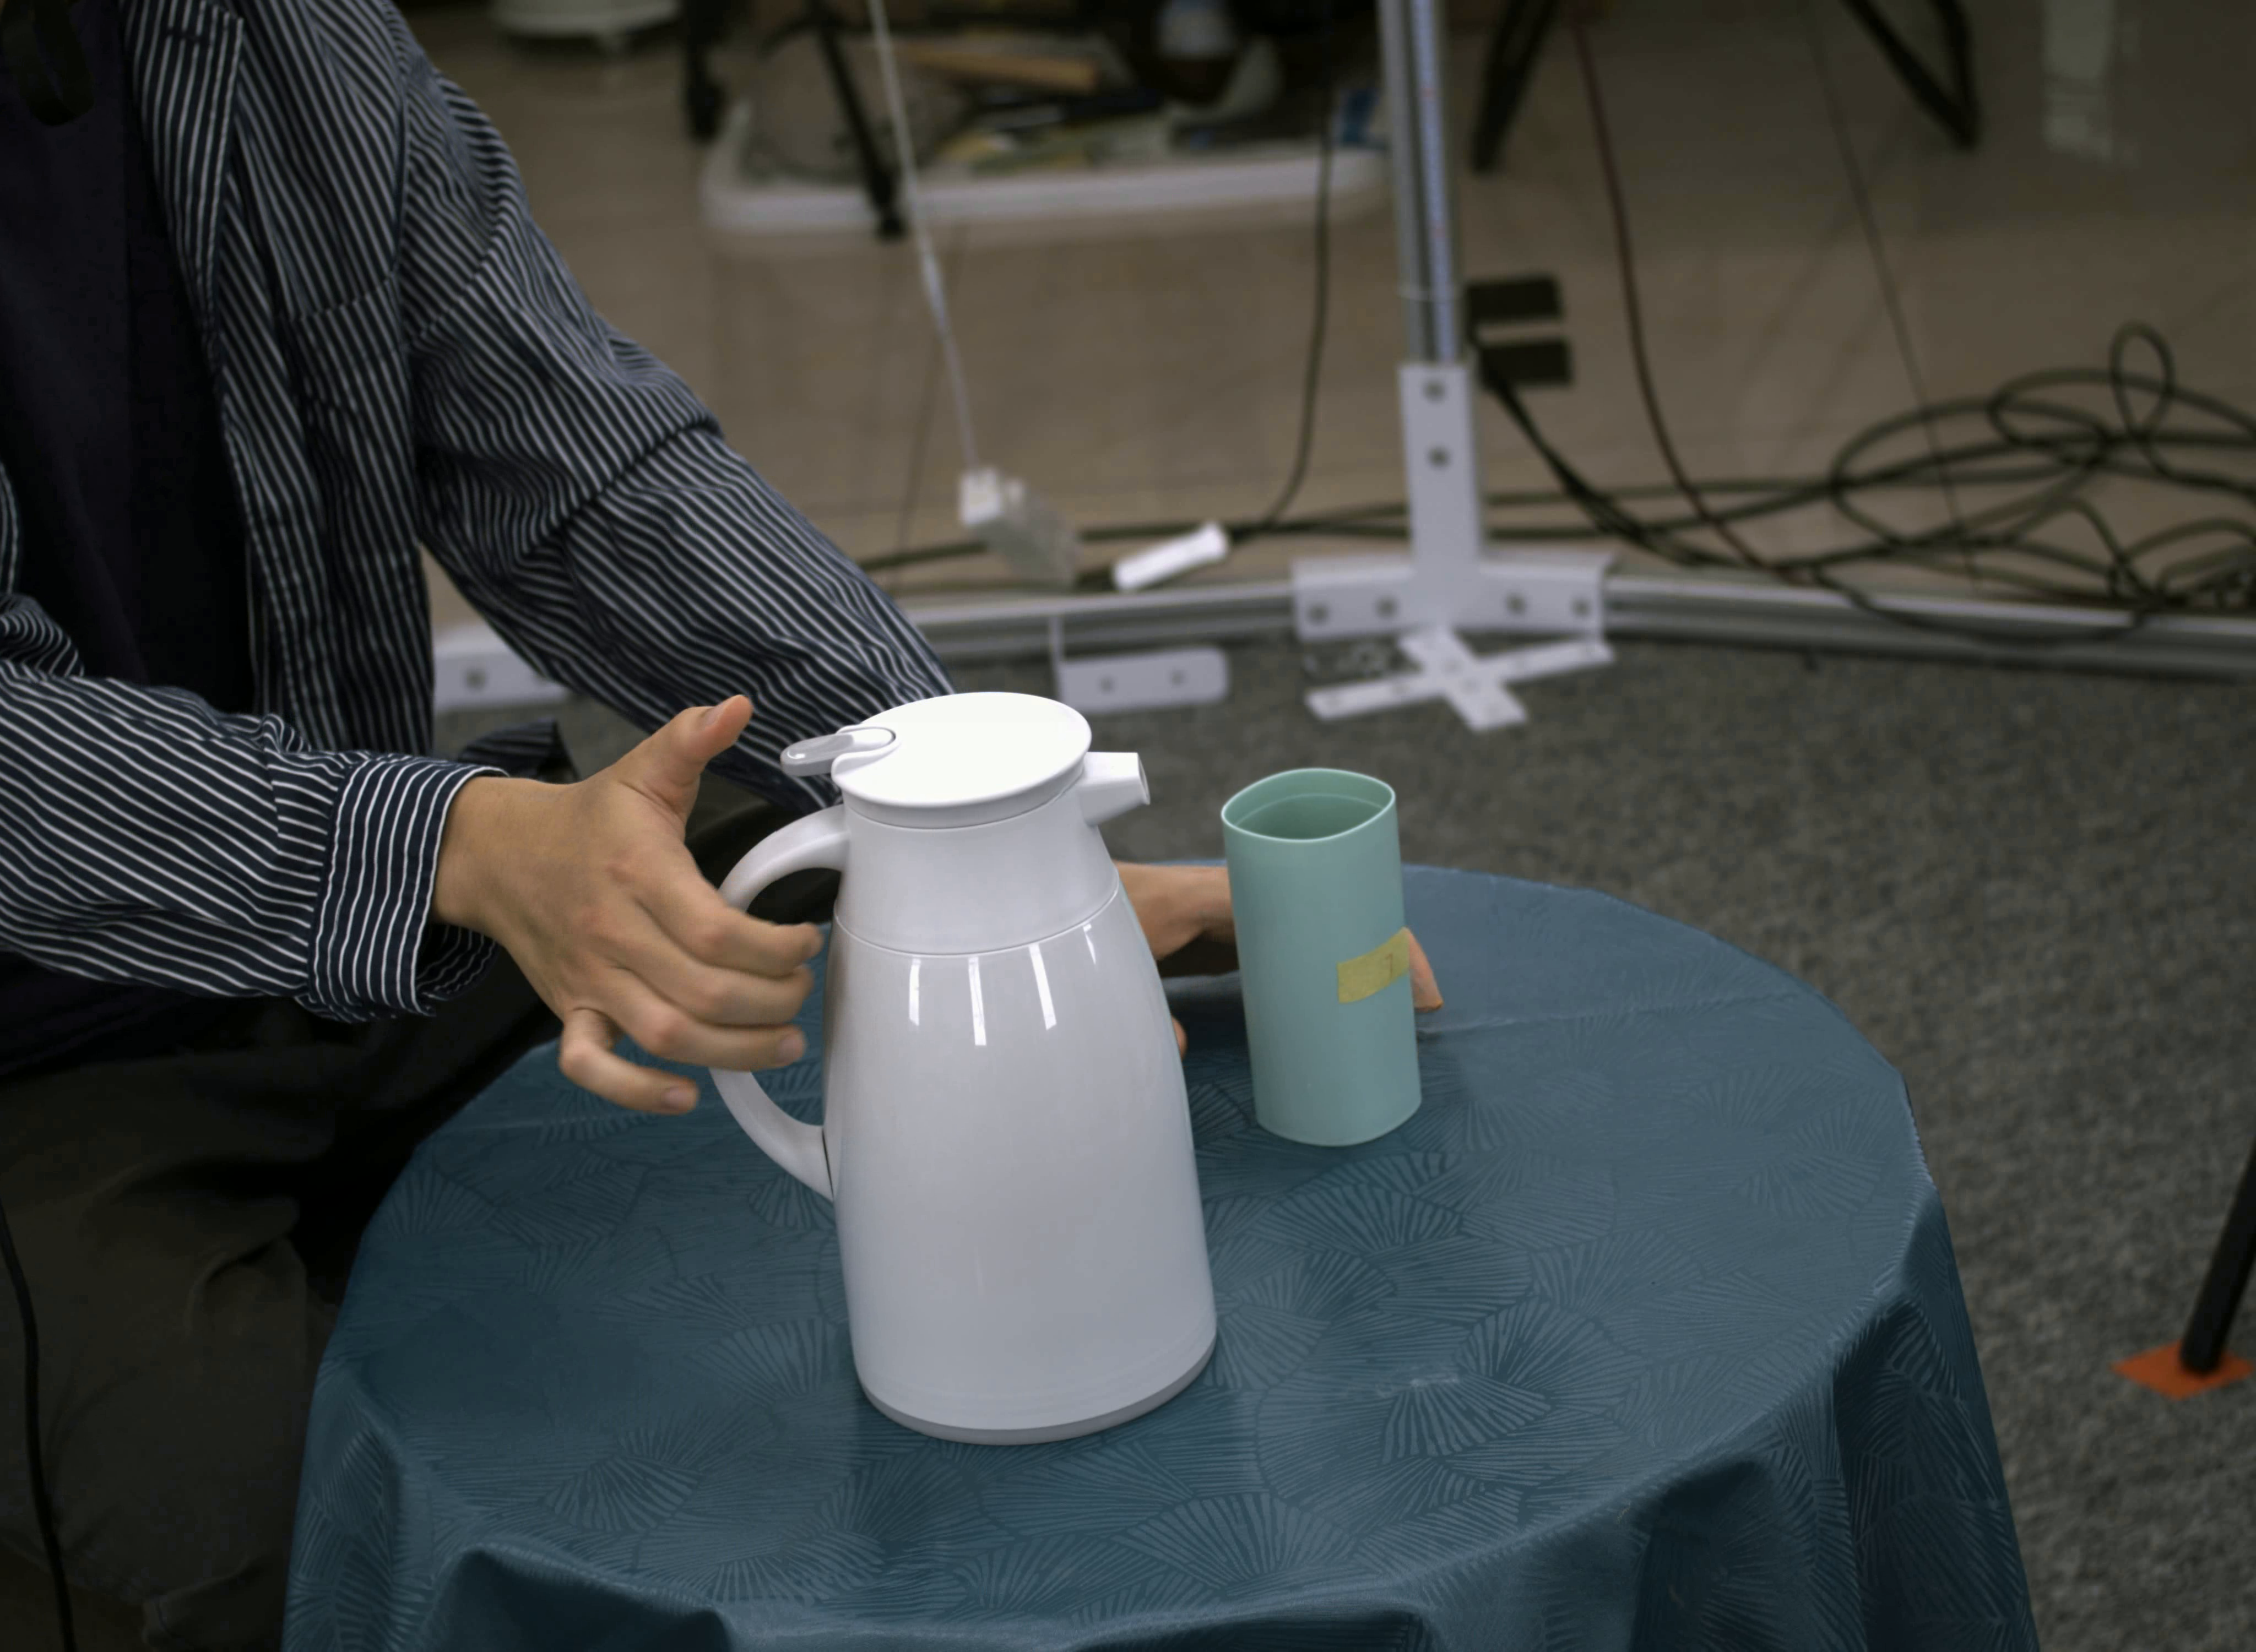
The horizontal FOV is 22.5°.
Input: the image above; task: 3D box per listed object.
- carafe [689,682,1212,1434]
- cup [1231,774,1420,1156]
[{"bbox_3d":[-0.067,0.078,1.993,0.167,0.253,0.130,-8,27,-1],"label":"carafe"},{"bbox_3d":[0.075,0.053,2.166,0.066,0.134,0.066,-4,27,2],"label":"cup"}]
